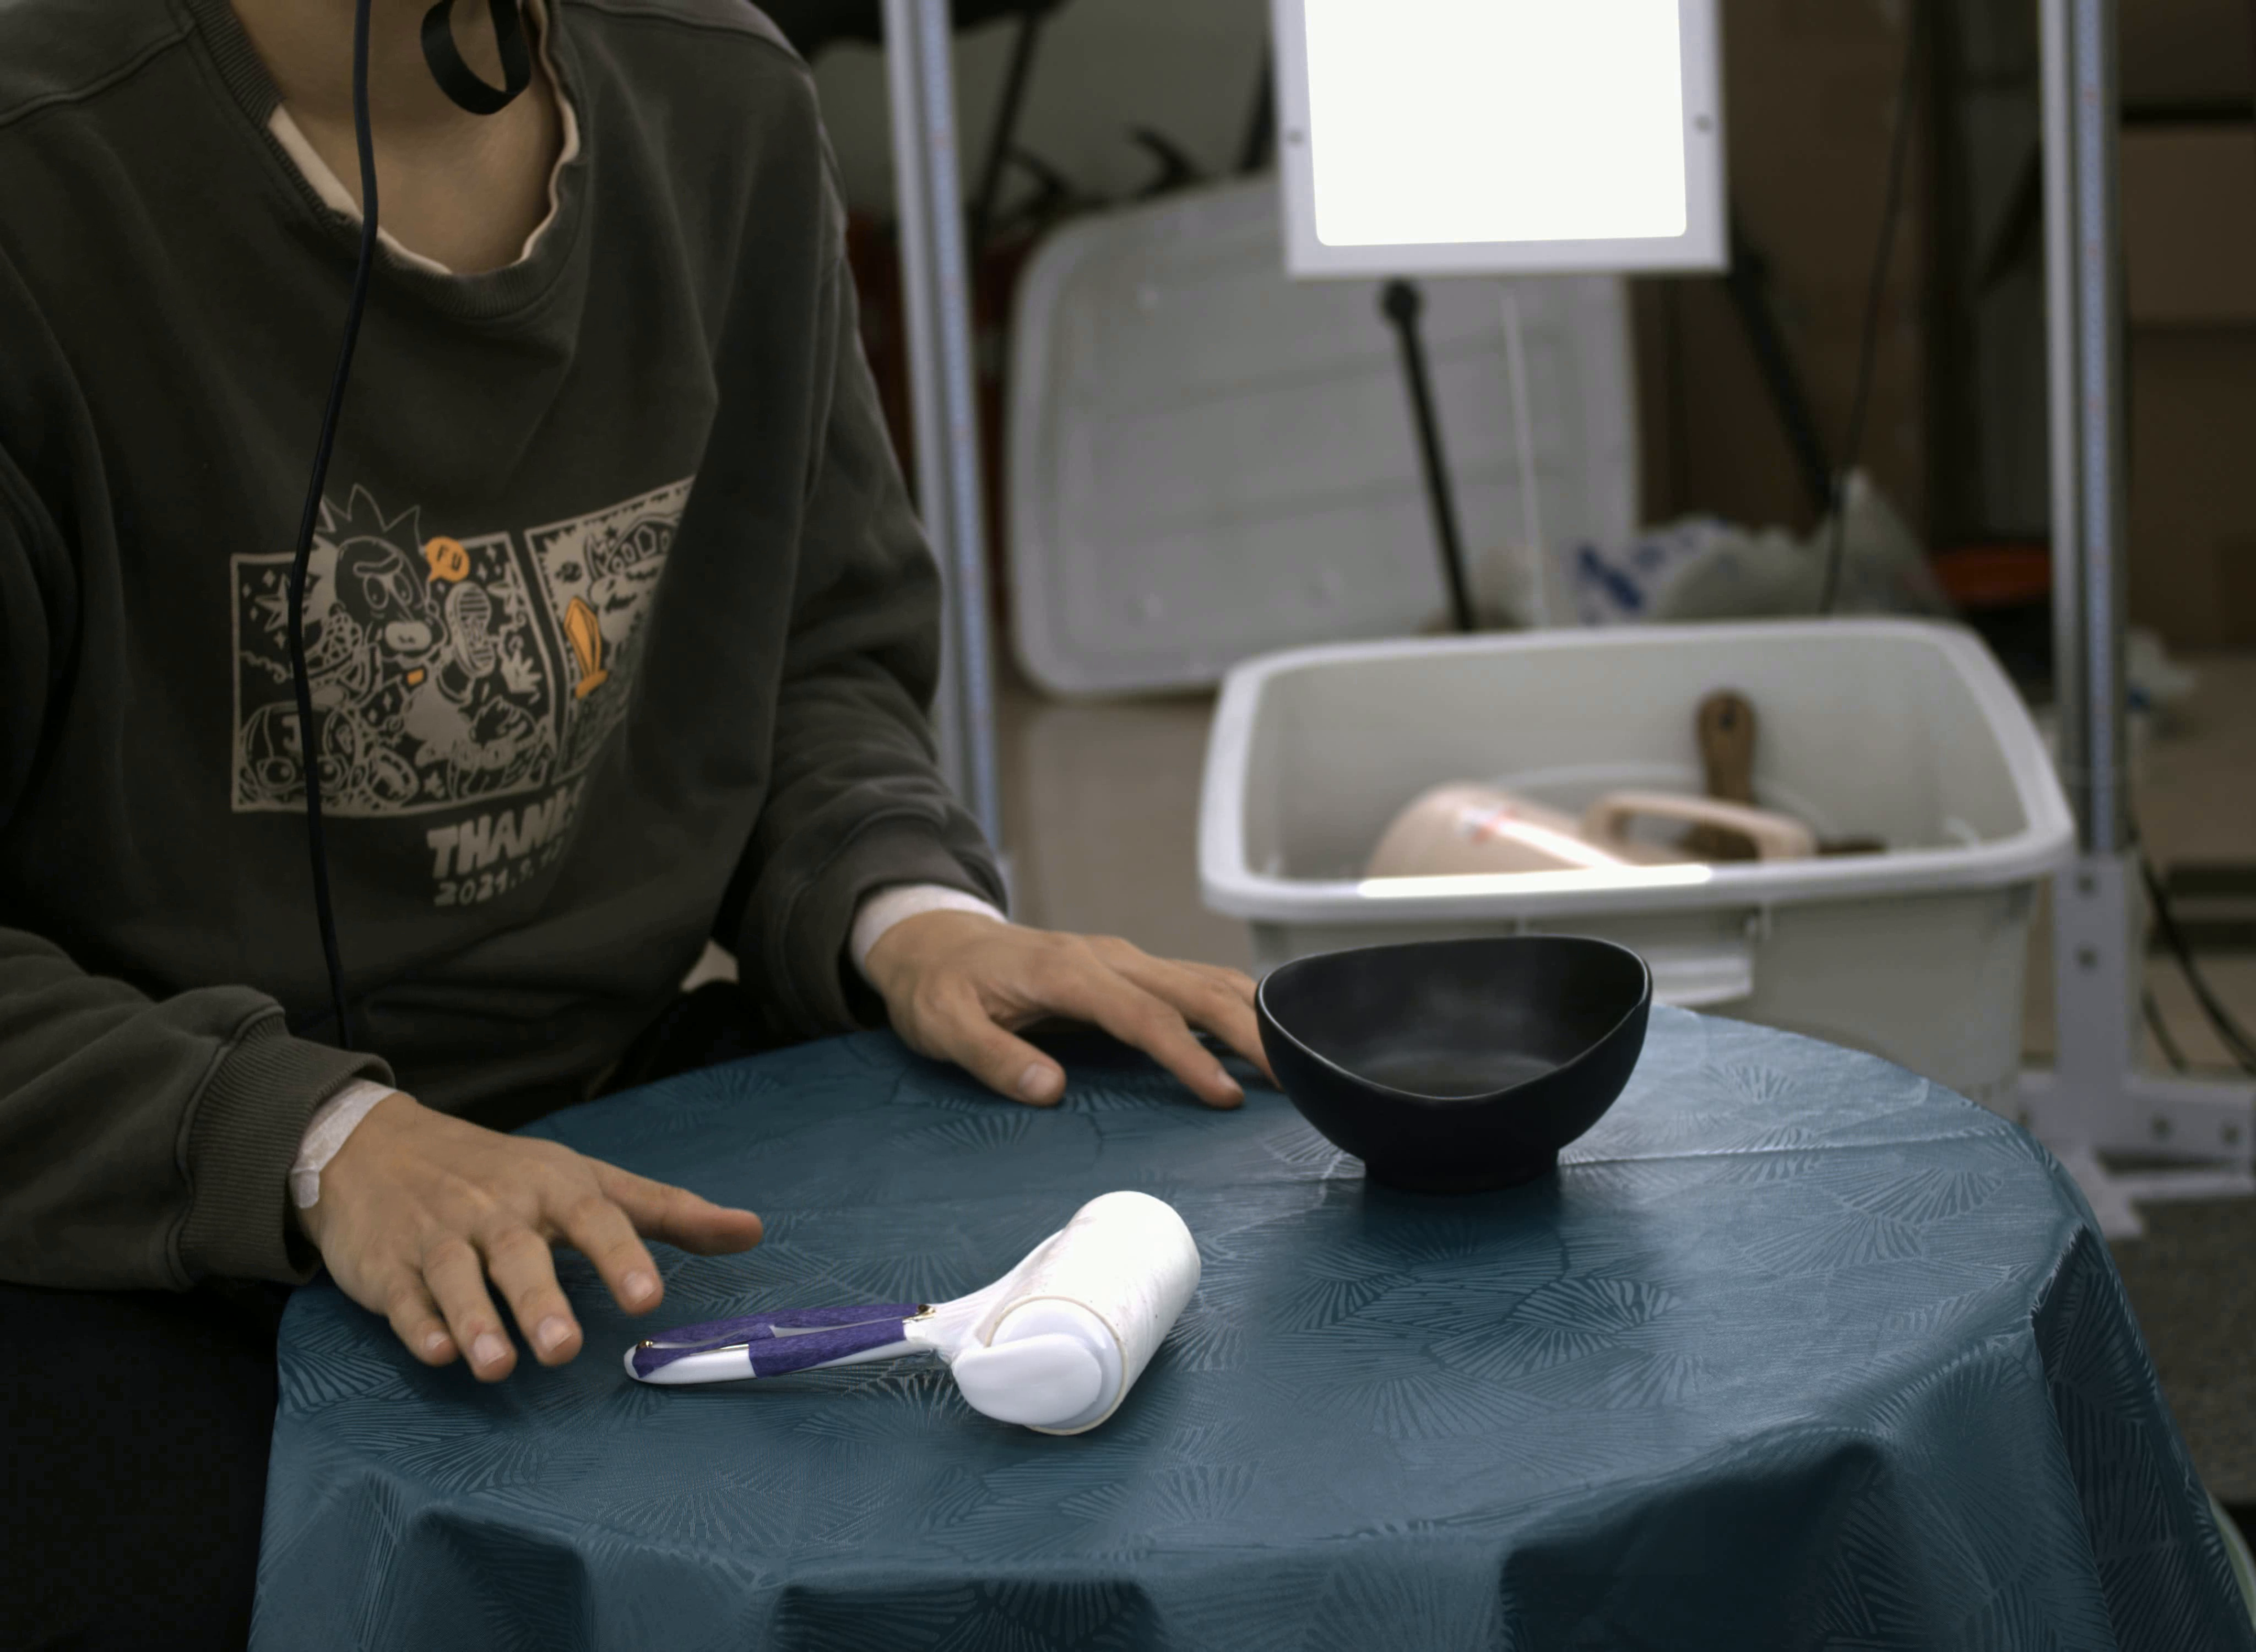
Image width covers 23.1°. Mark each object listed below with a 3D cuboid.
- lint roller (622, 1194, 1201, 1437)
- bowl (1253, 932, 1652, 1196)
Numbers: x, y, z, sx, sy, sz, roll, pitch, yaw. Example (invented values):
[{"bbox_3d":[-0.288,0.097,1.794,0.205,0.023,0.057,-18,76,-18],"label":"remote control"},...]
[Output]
[{"bbox_3d":[-0.073,0.150,1.729,0.183,0.050,0.131,2,16,17],"label":"lint roller"},{"bbox_3d":[0.114,0.086,1.889,0.137,0.067,0.170,-6,16,2],"label":"bowl"}]
